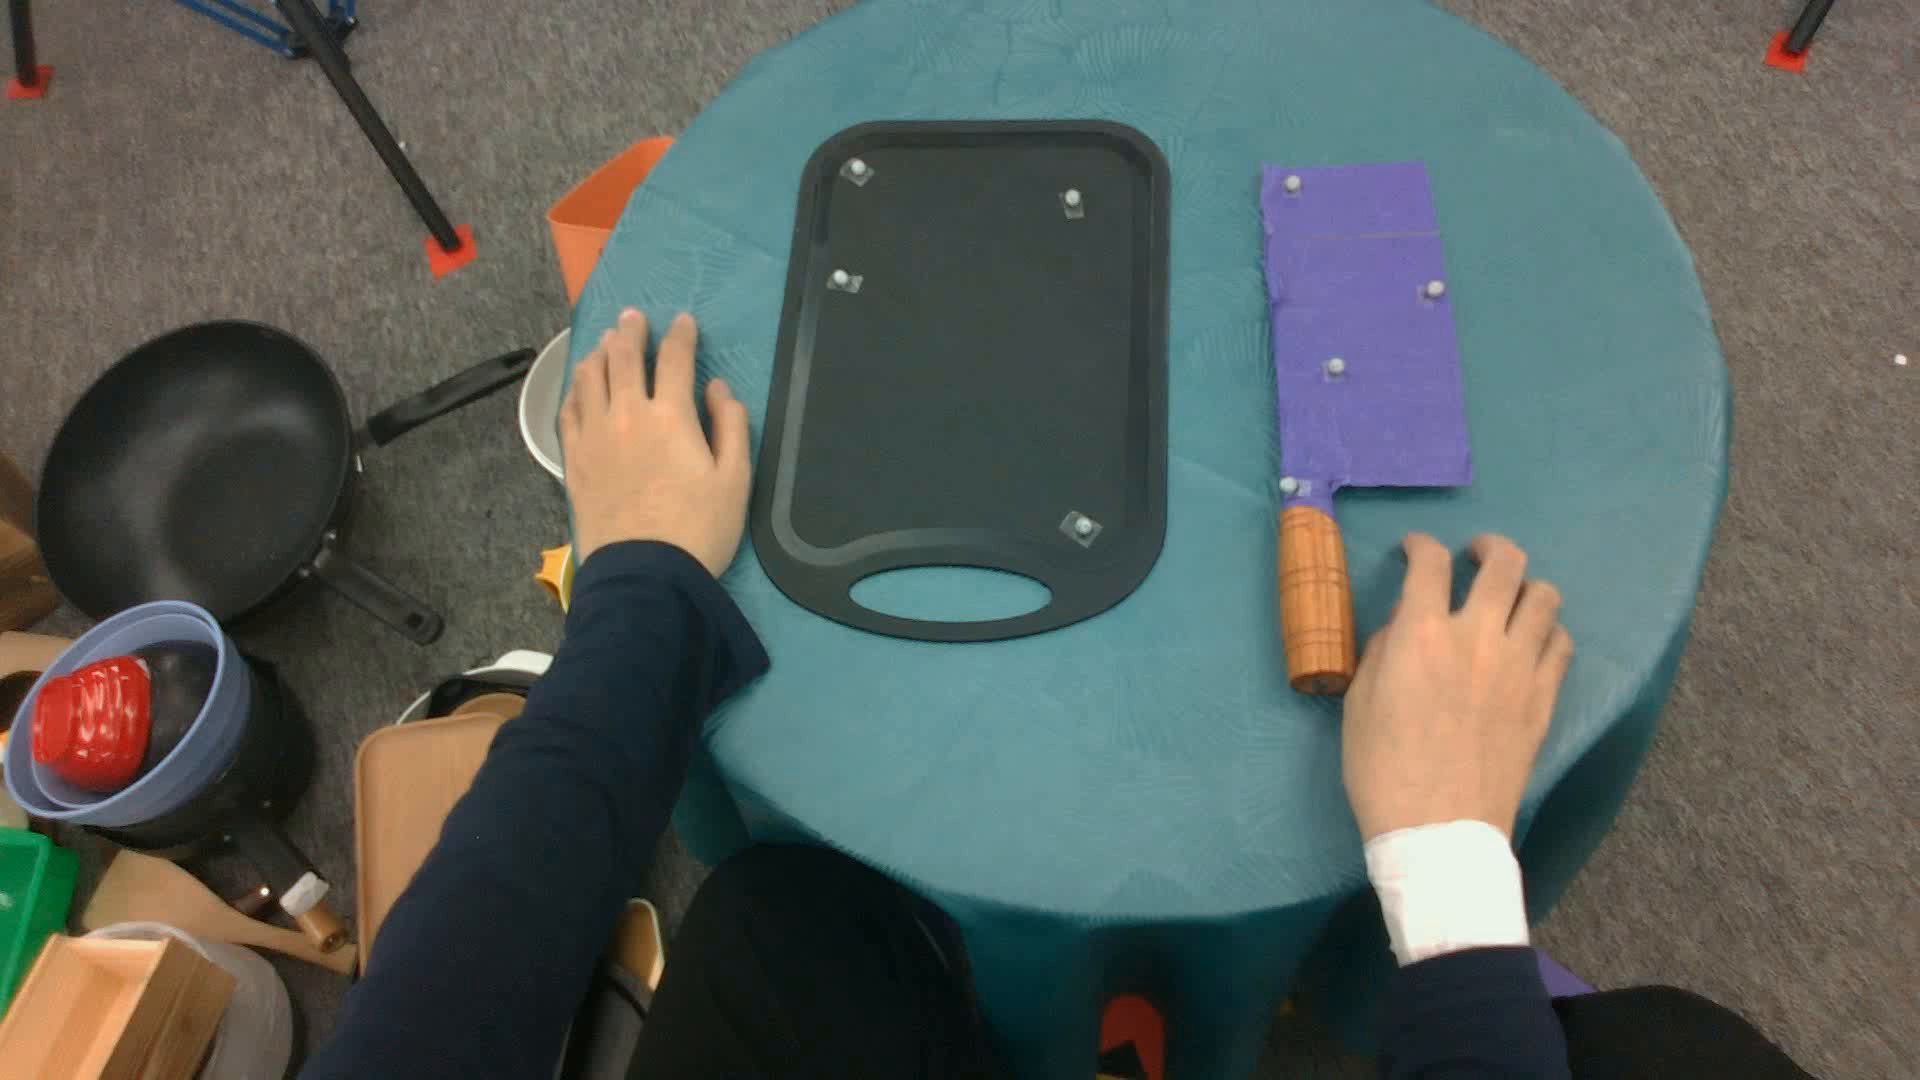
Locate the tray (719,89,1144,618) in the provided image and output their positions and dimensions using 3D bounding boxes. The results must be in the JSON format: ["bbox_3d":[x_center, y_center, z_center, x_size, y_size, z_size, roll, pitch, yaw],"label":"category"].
[{"bbox_3d":[-0.010,-0.112,0.723,0.211,0.010,0.326,2,65,5],"label":"tray"}]

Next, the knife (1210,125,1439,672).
[{"bbox_3d":[0.188,-0.087,0.688,0.104,0.032,0.316,-1,64,4],"label":"knife"}]
